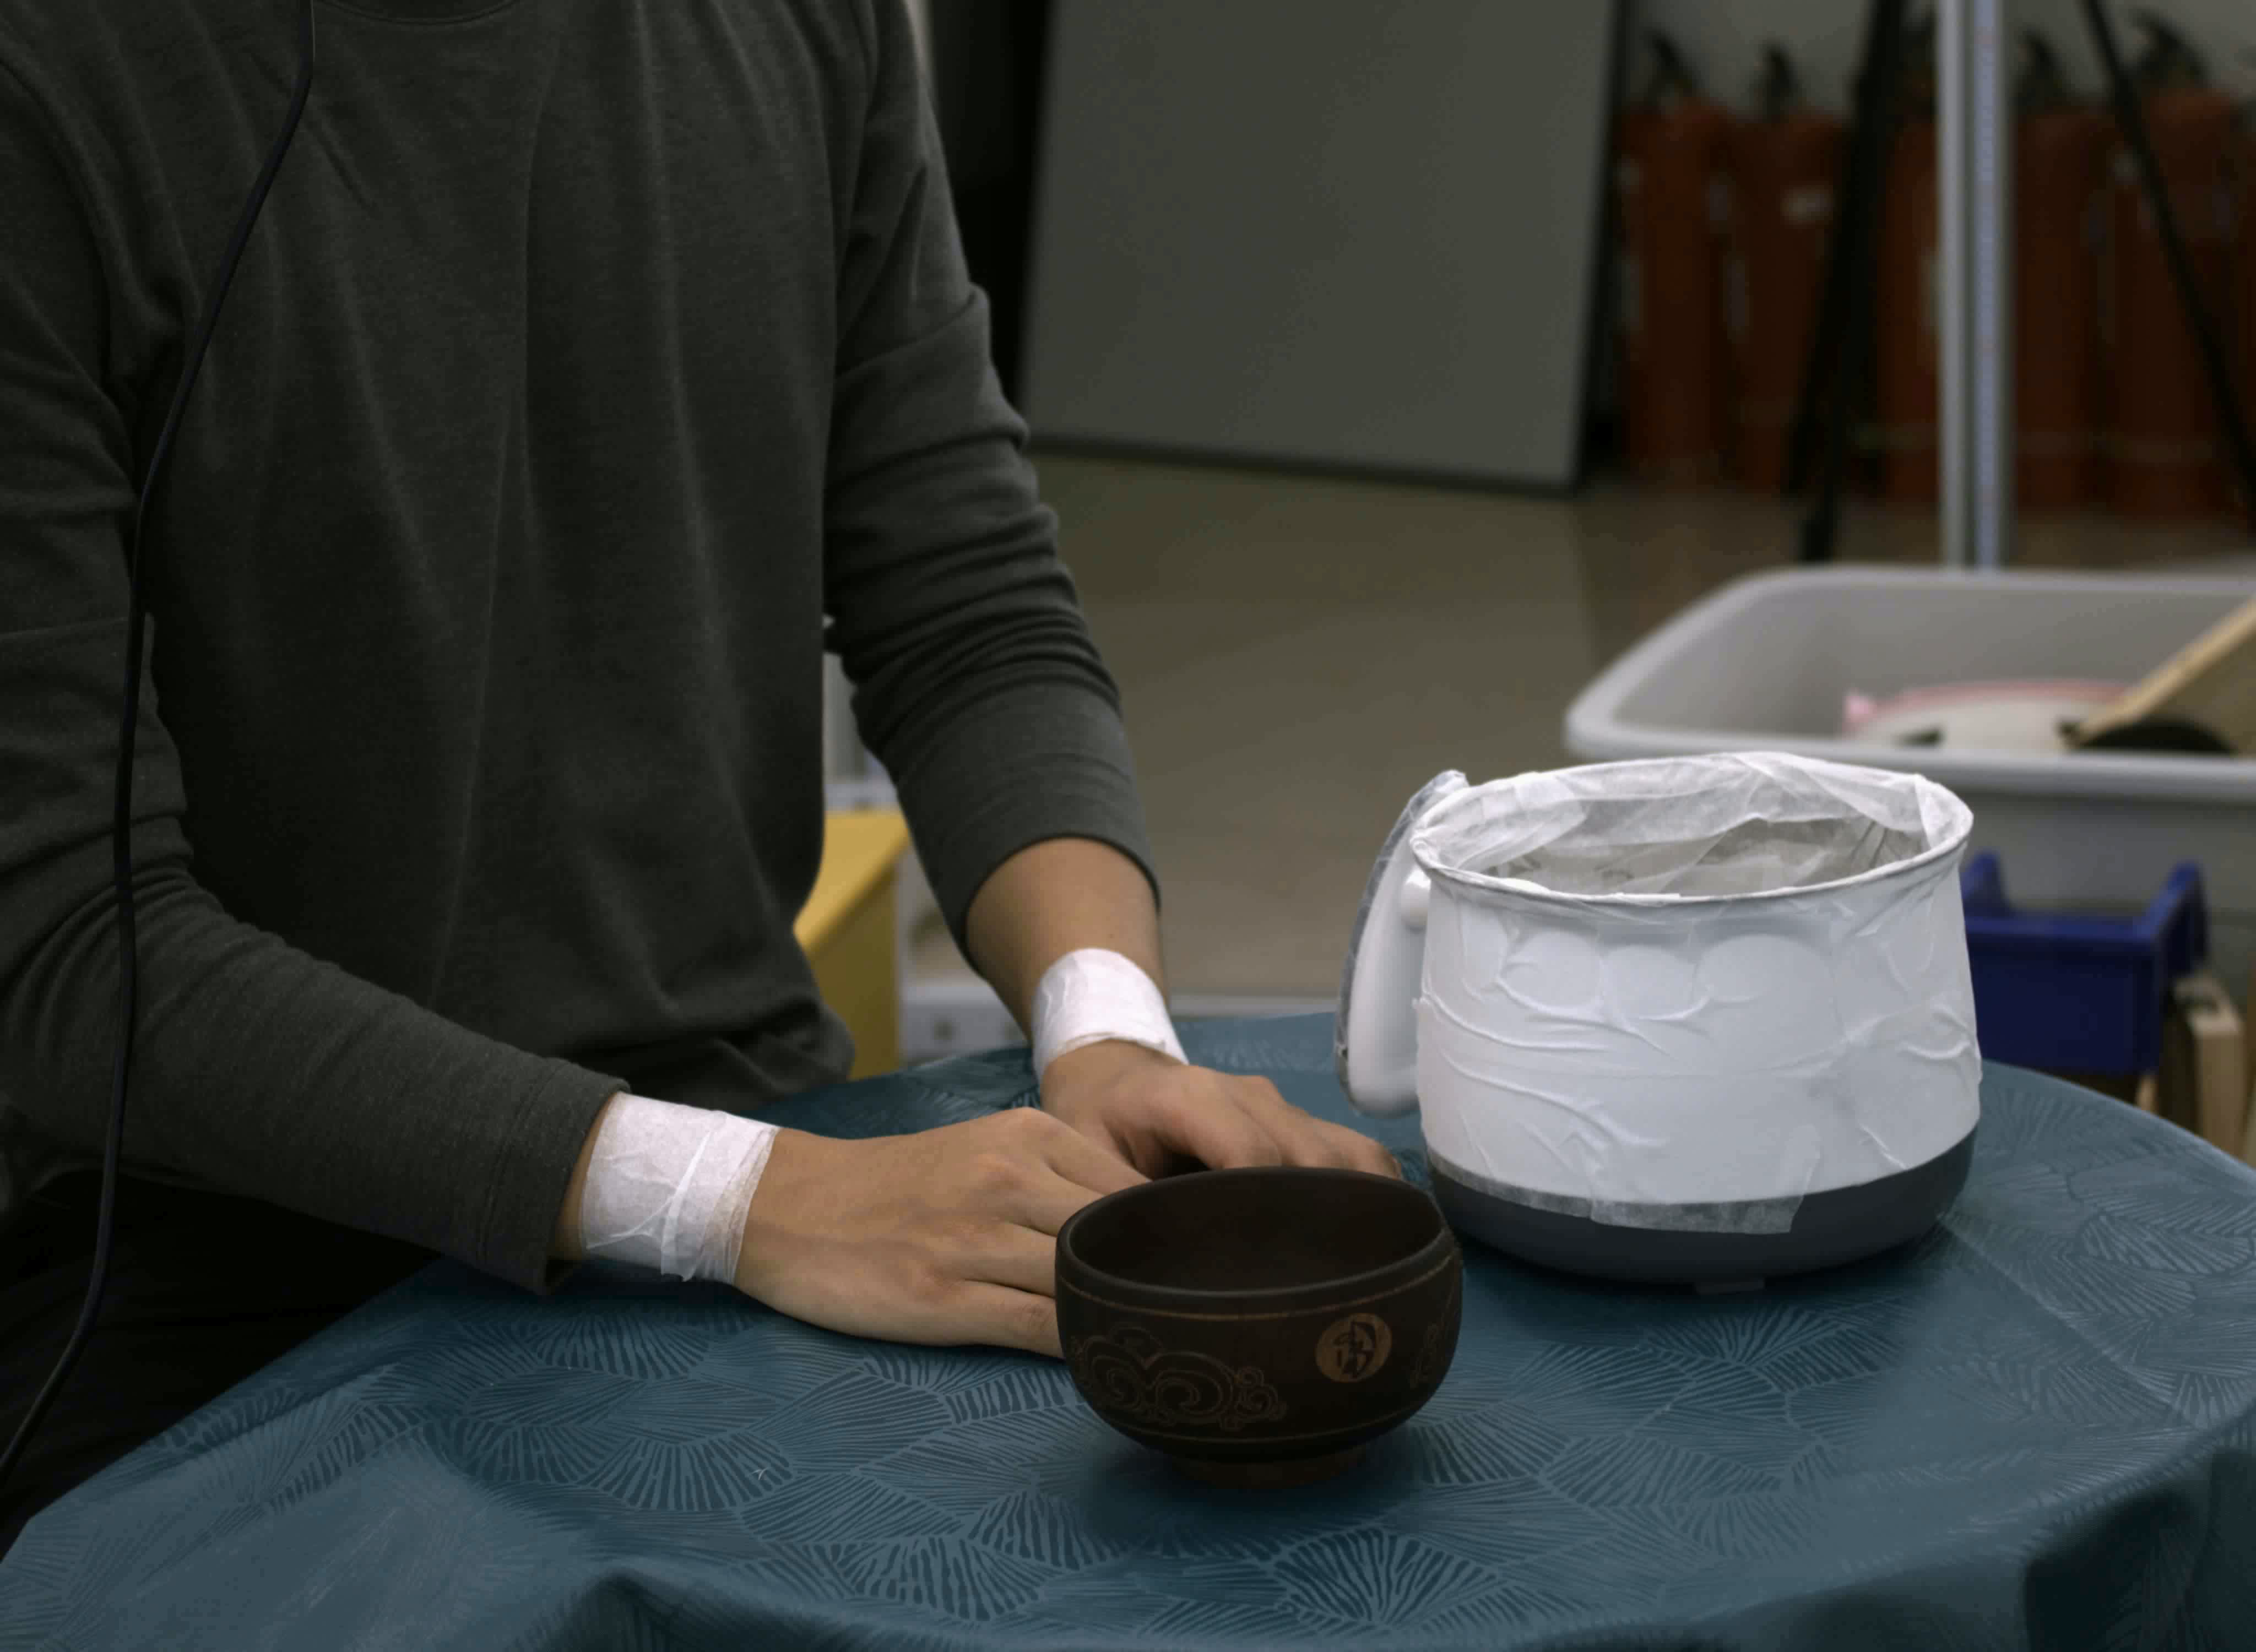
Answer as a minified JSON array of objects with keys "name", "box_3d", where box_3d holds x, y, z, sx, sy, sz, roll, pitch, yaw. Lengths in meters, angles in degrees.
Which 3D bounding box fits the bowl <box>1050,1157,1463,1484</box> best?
[{"name":"bowl","box_3d":[0.038,0.143,1.519,0.116,0.070,0.118,-6,12,0]}]

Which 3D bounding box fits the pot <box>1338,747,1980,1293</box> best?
[{"name":"pot","box_3d":[0.158,0.056,1.704,0.236,0.138,0.175,9,18,43]}]
